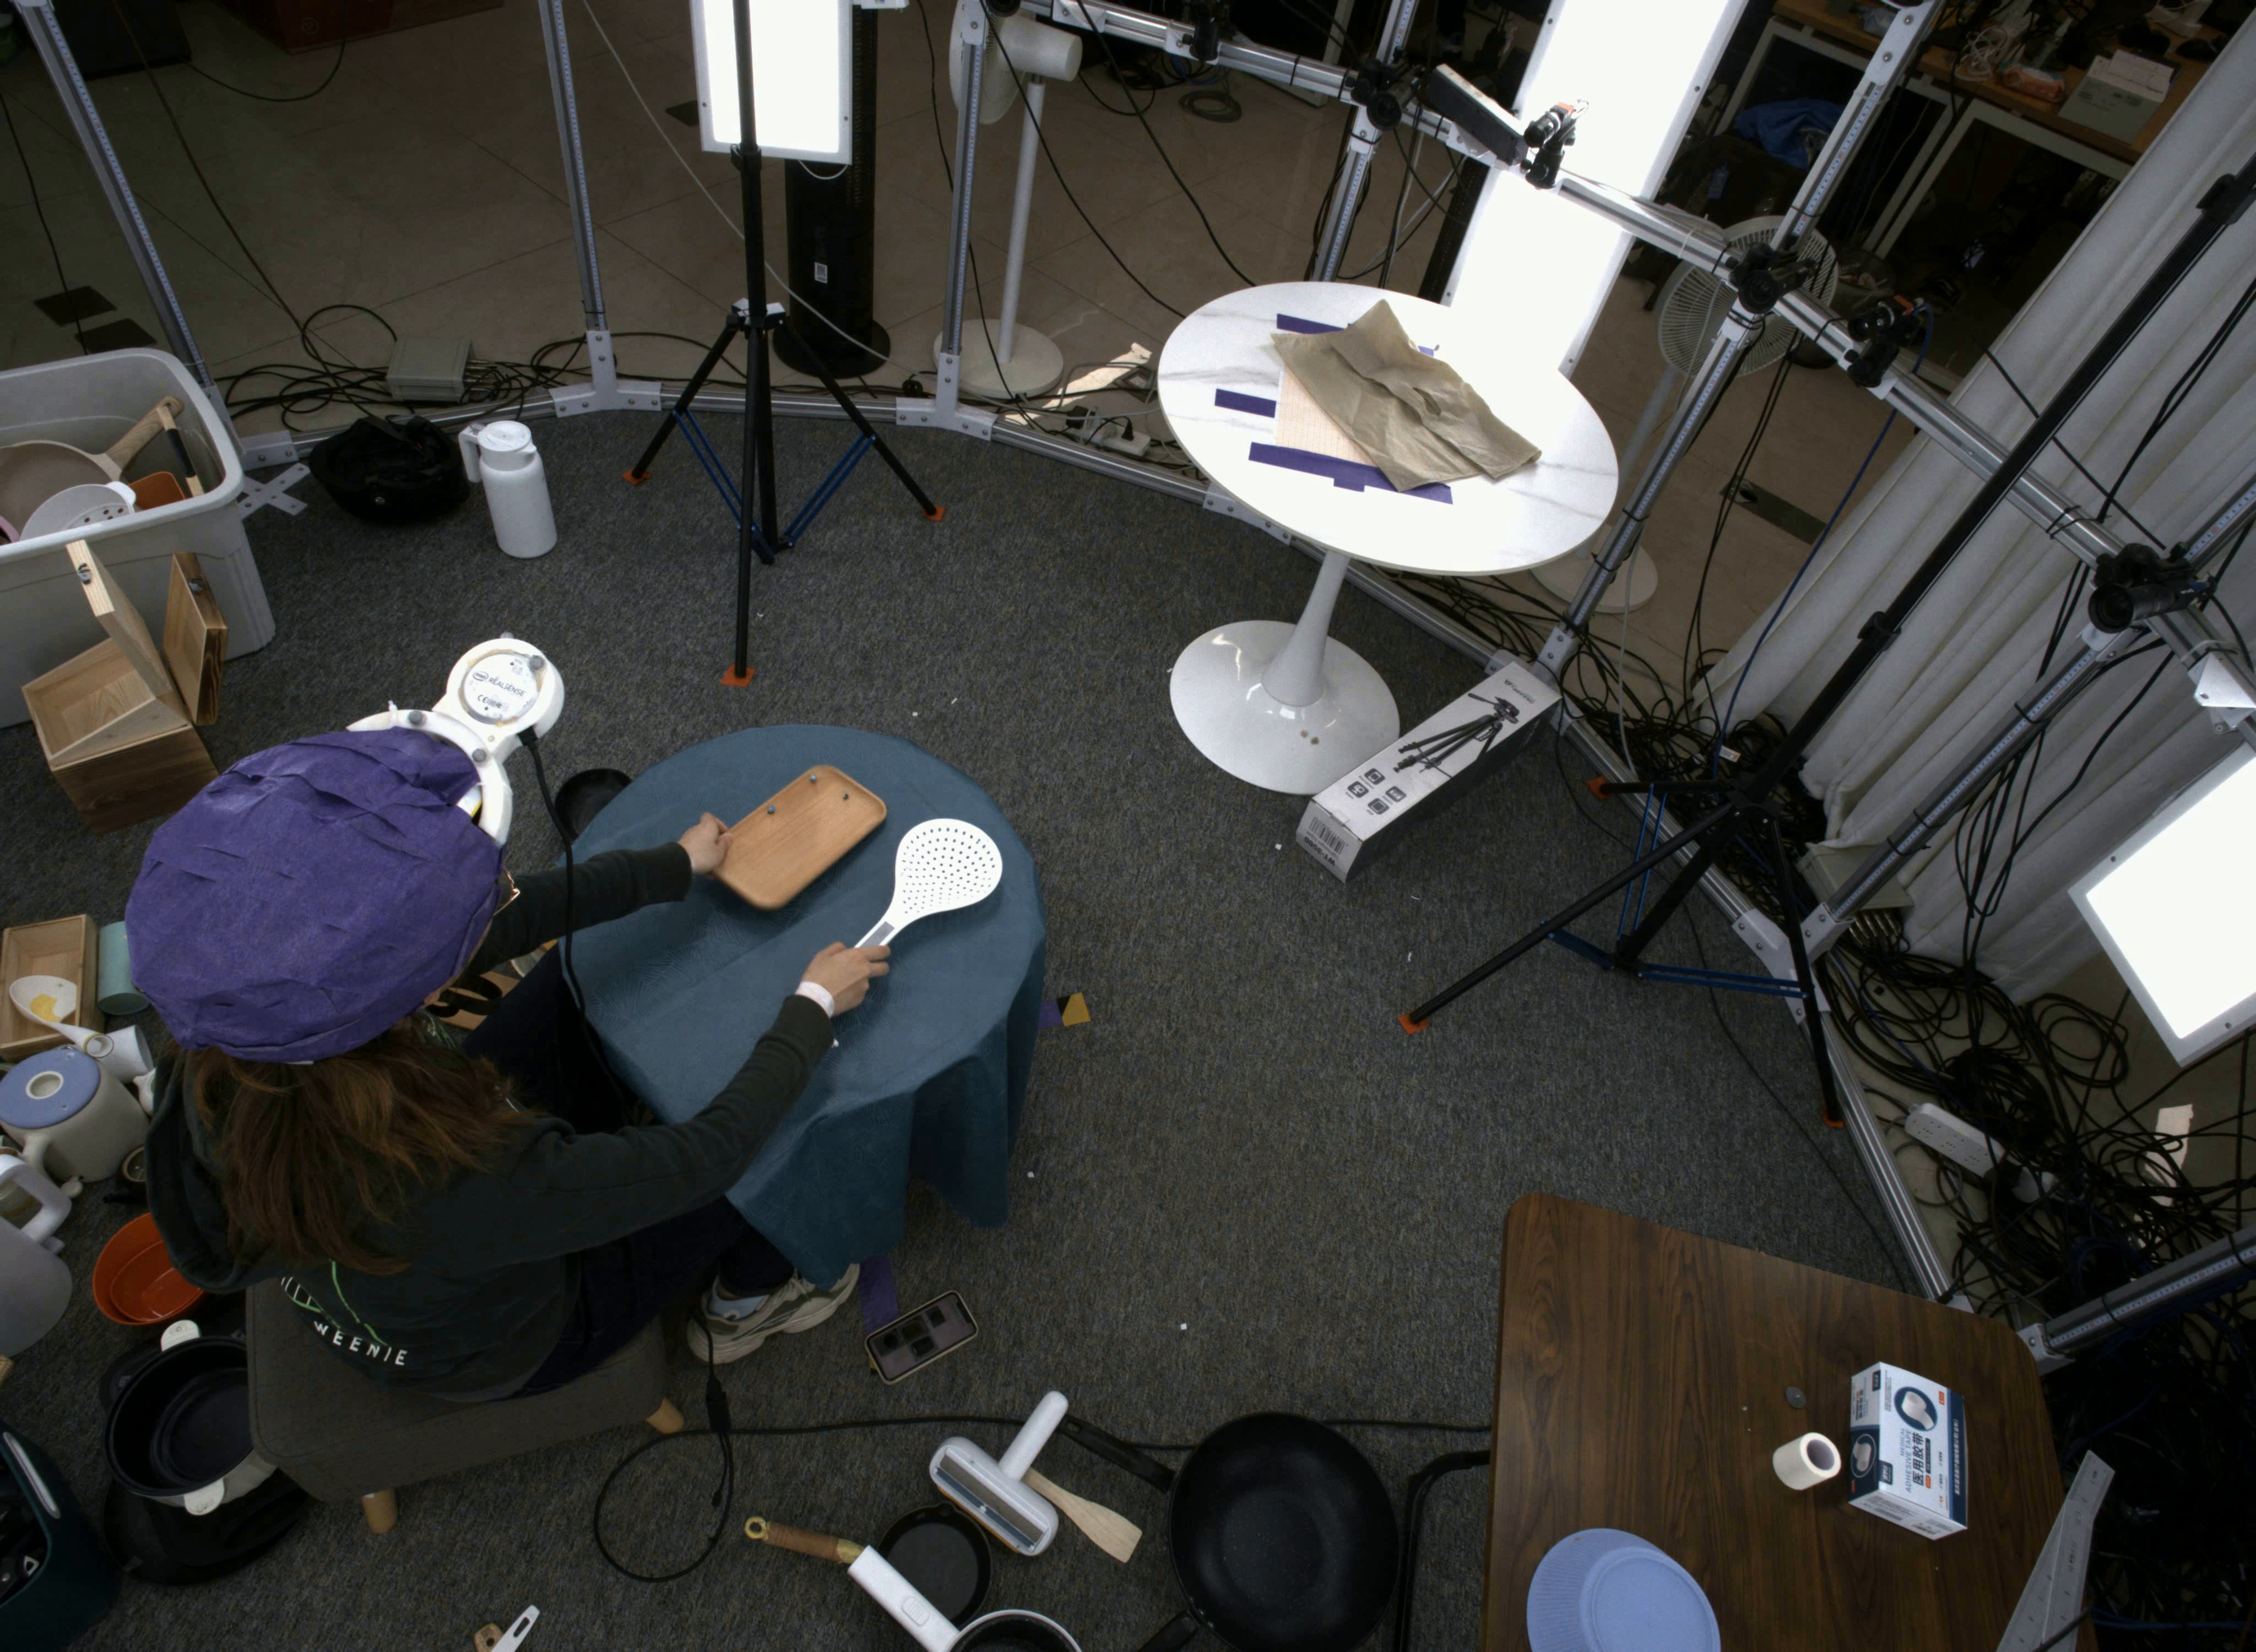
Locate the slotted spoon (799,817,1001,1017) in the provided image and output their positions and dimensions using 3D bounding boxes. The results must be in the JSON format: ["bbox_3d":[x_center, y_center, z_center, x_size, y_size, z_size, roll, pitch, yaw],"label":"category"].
[{"bbox_3d":[-0.289,0.111,1.636,0.134,0.046,0.349,33,47,9],"label":"slotted spoon"}]

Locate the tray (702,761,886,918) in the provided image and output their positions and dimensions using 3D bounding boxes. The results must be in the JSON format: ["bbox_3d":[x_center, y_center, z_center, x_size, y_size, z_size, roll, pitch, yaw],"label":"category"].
[{"bbox_3d":[-0.431,0.014,1.686,0.129,0.023,0.250,37,50,6],"label":"tray"}]
